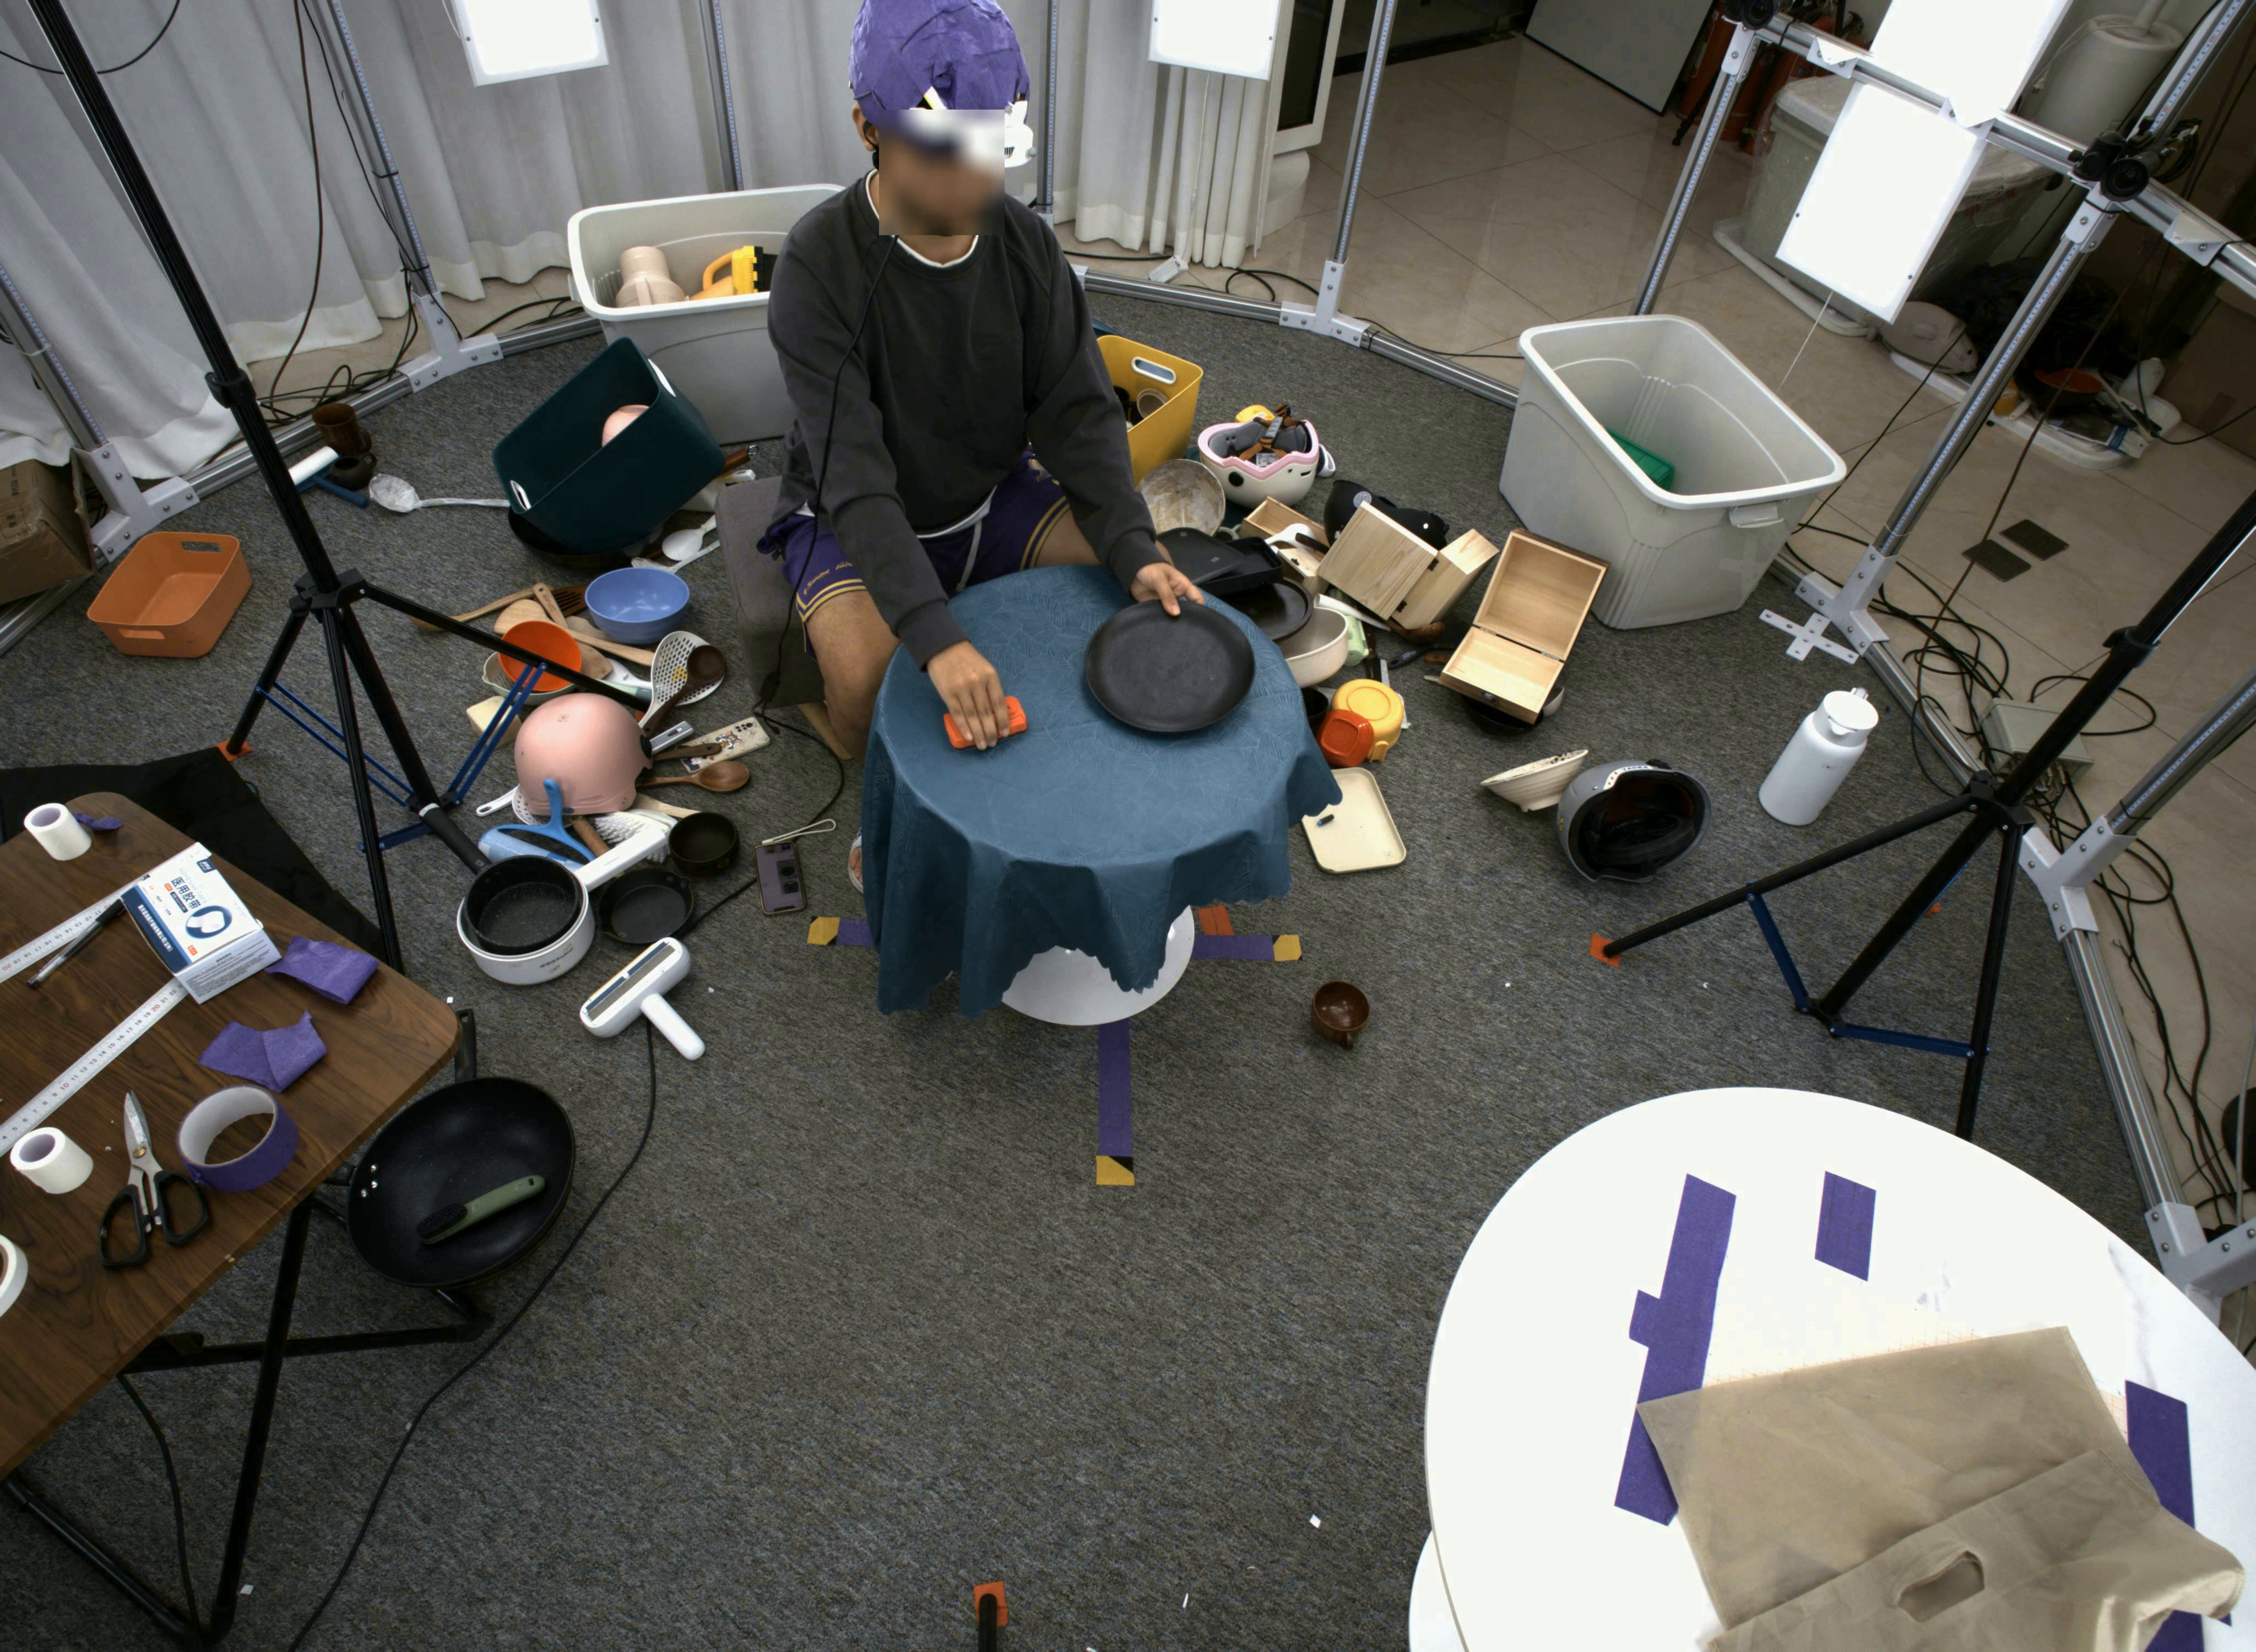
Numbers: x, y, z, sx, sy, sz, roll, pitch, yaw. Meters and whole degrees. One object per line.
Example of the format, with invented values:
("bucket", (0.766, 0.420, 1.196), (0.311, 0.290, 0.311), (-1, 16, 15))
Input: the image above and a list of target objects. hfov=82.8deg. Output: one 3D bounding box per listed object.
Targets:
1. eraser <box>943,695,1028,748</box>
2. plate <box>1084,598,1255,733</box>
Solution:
("eraser", (-0.195, -0.144, 1.756), (0.108, 0.022, 0.060), (-16, 51, -21))
("plate", (0.059, -0.228, 1.834), (0.244, 0.023, 0.250), (-1, 56, 1))
